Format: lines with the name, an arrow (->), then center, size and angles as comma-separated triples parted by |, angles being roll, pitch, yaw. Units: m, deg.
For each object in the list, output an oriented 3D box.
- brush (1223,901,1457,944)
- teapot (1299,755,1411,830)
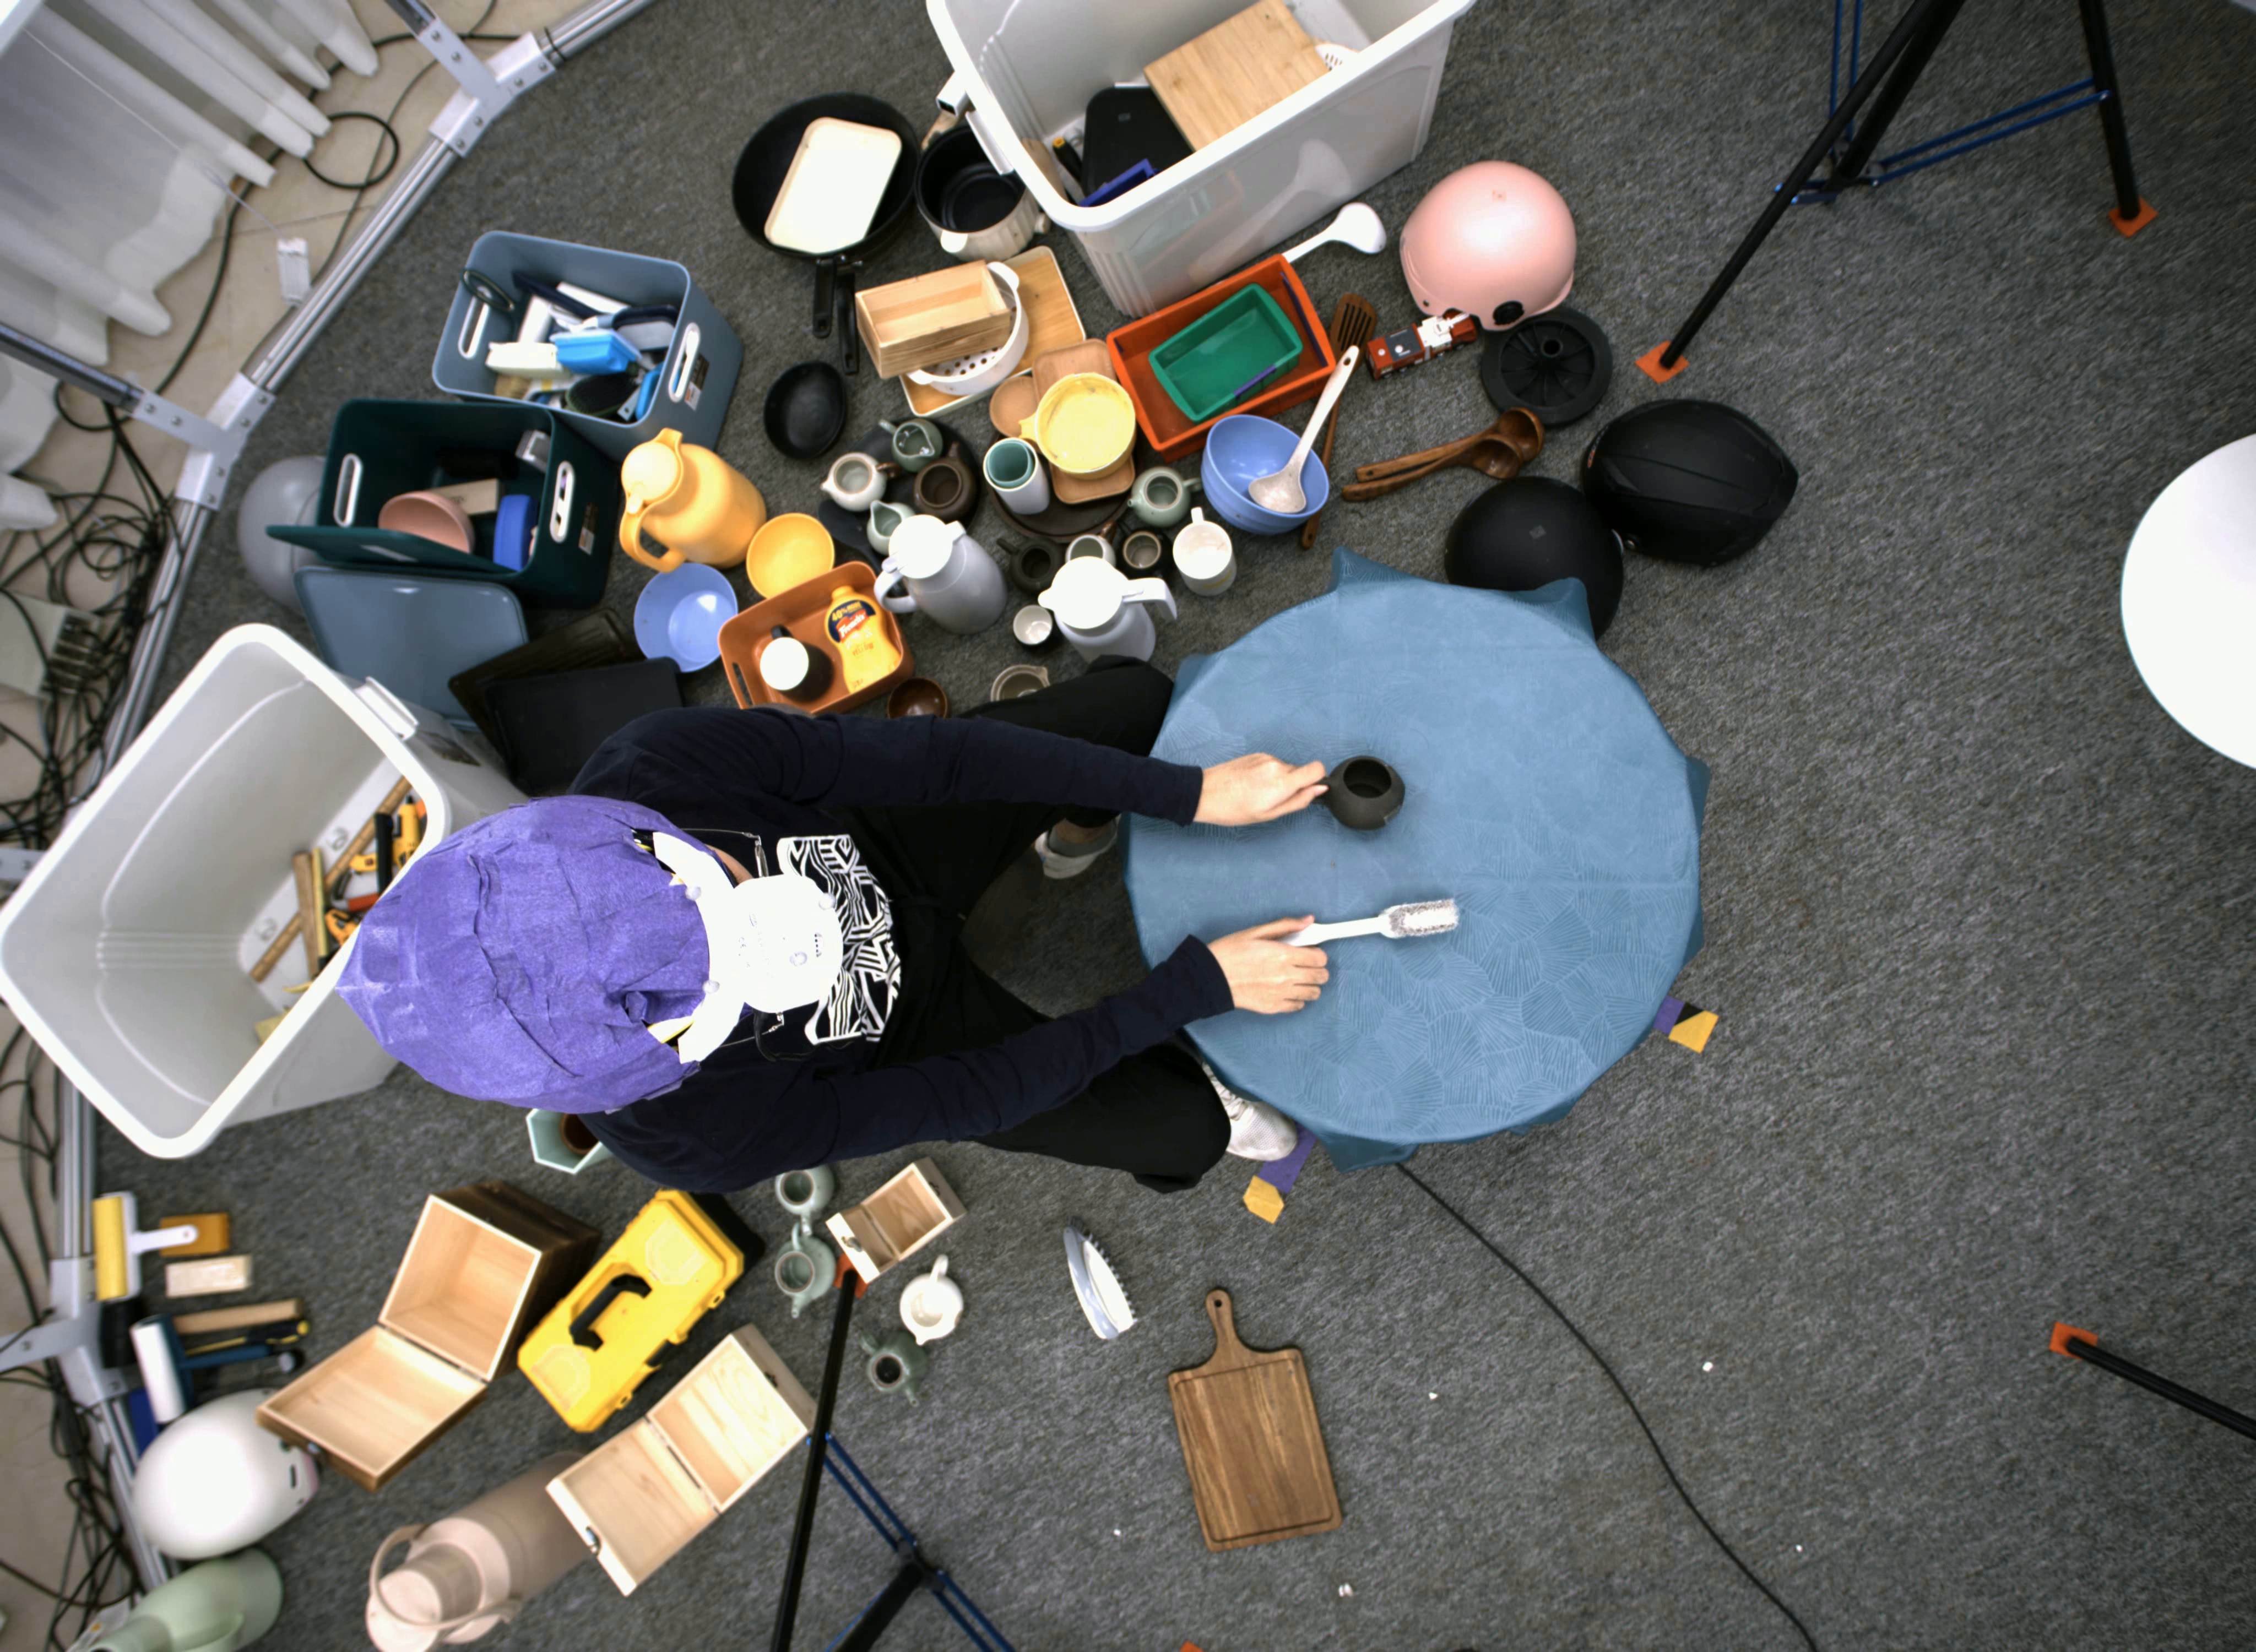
brush -> 0.218, 0.103, 1.442 | 0.245, 0.050, 0.034 | -5, 89, 10
teapot -> 0.235, -0.037, 1.432 | 0.114, 0.054, 0.081 | -2, 60, 2
